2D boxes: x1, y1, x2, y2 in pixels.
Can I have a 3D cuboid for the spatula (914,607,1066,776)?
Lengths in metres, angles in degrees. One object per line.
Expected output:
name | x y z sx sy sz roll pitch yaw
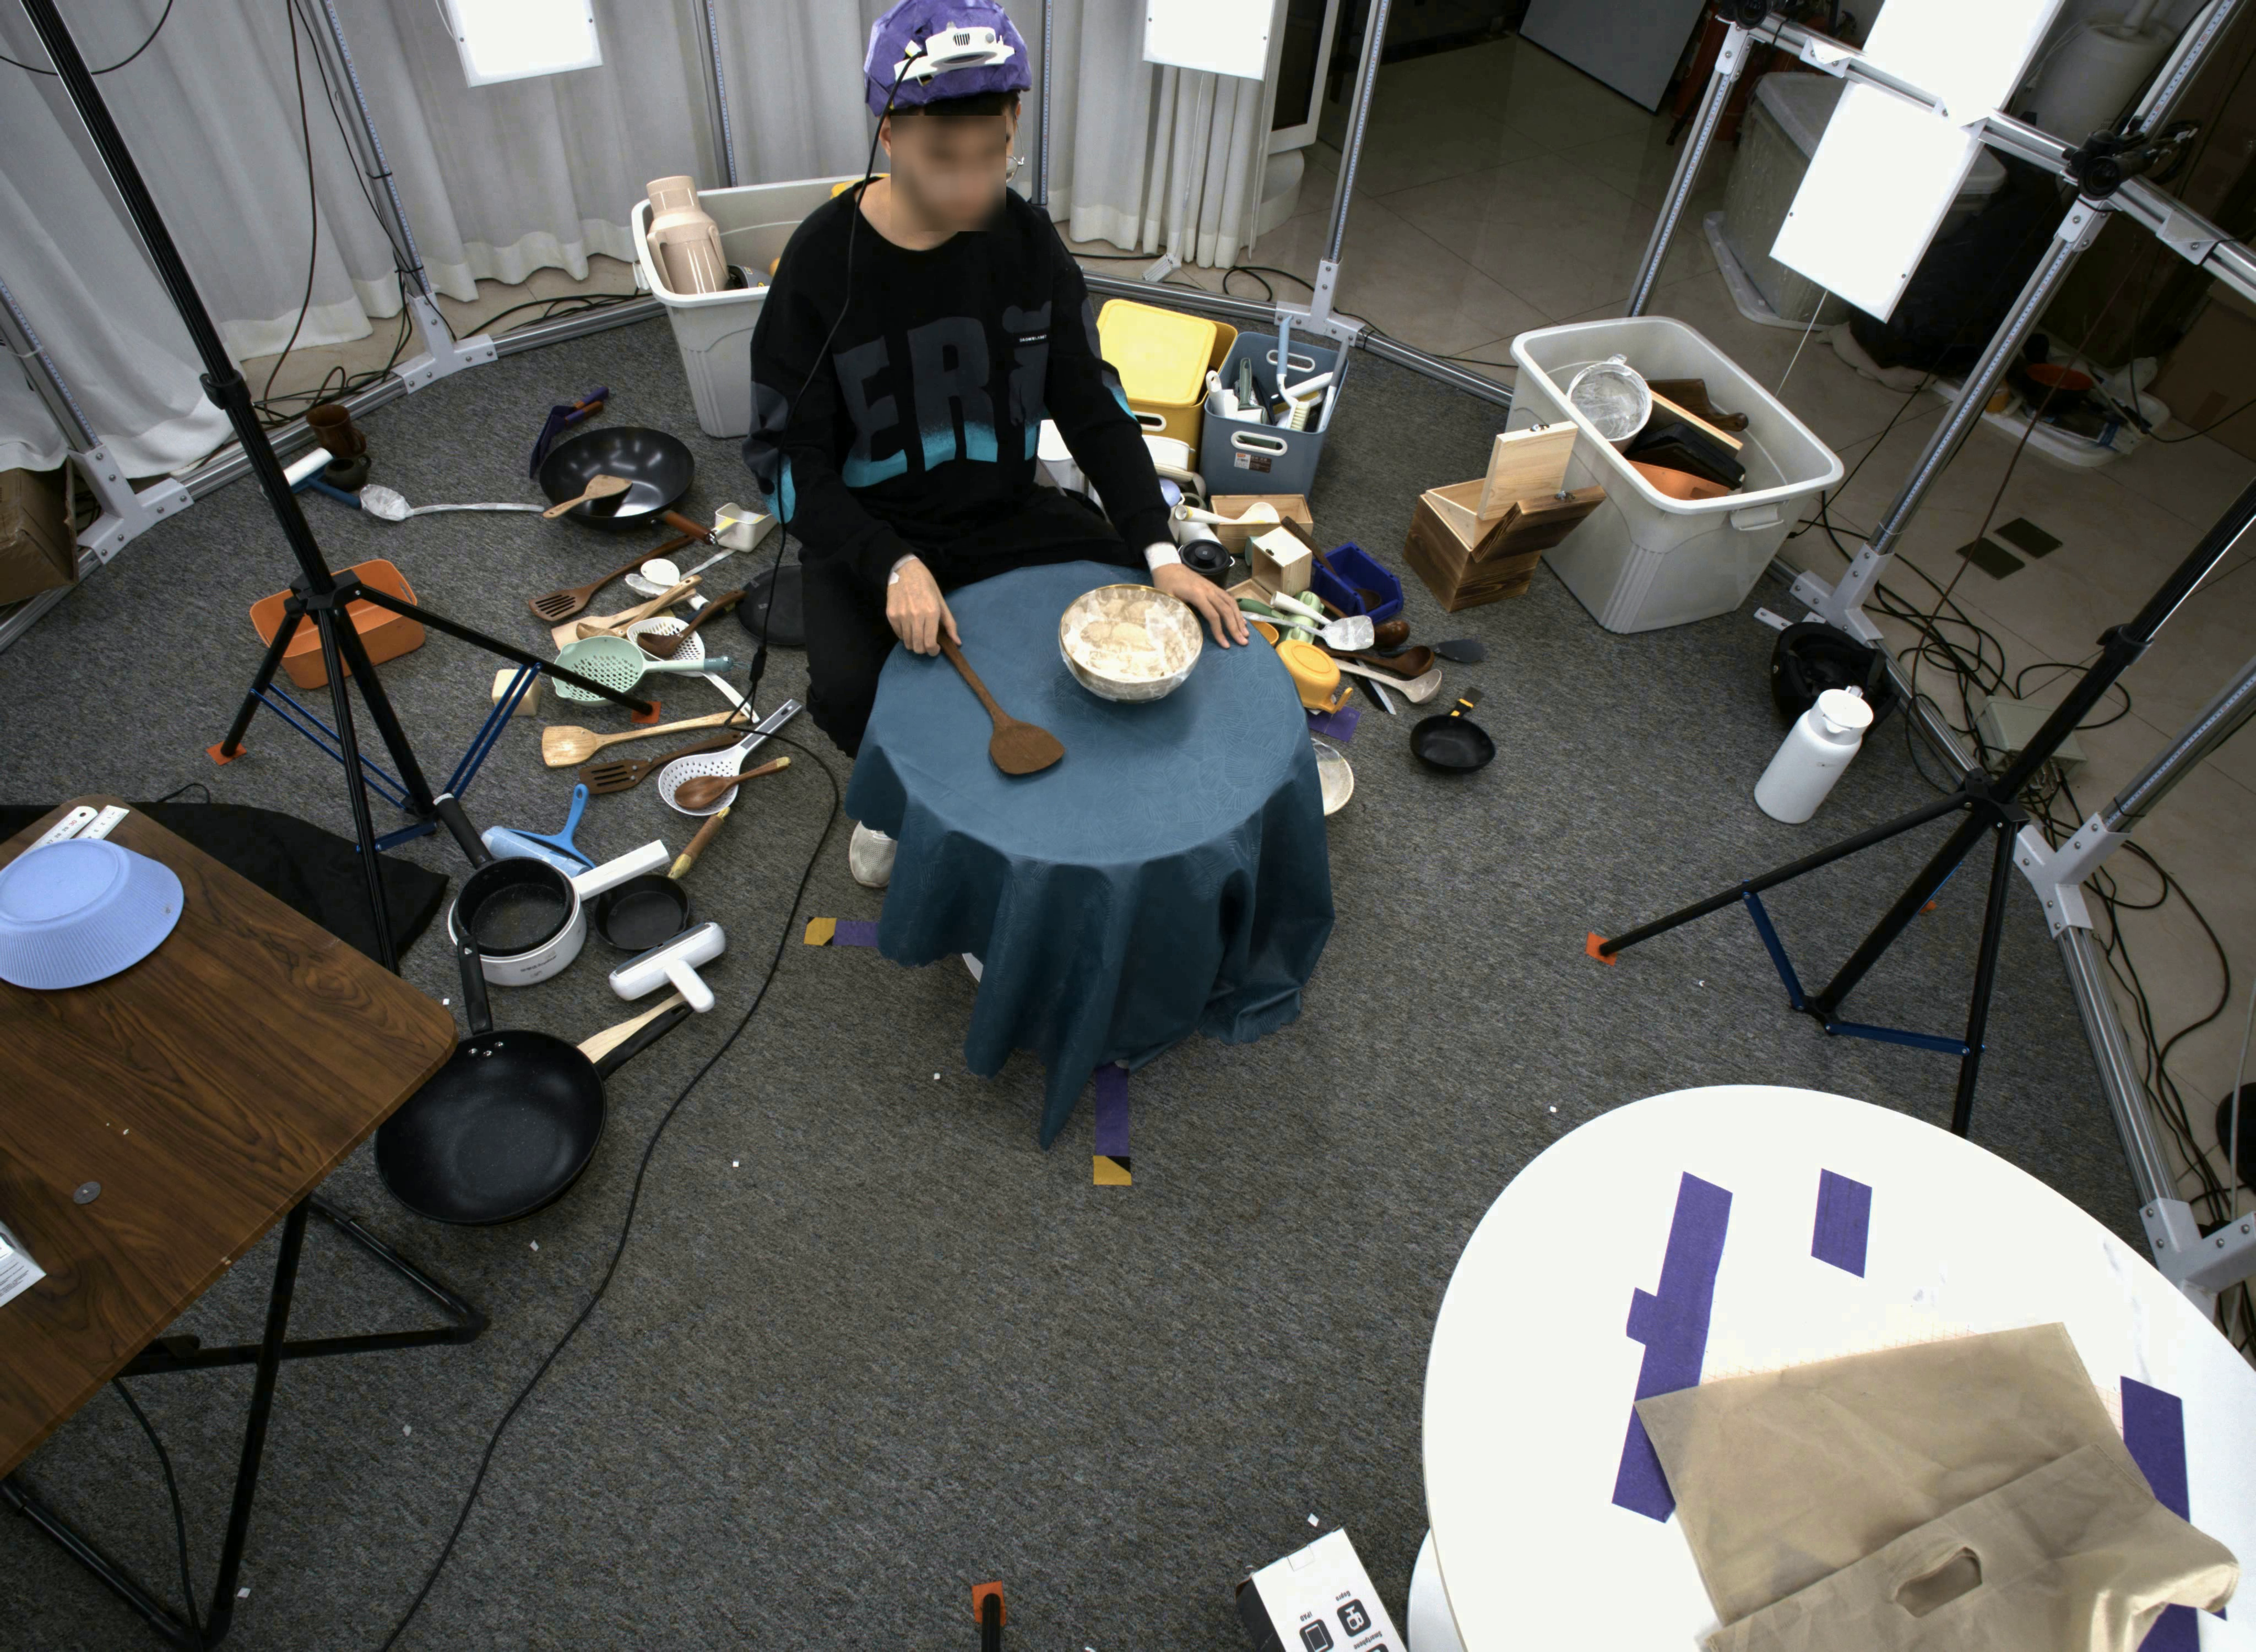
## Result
spatula | -0.215 -0.203 1.838 0.096 0.015 0.394 -22 53 -22

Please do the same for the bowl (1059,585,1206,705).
bowl | 0.005 -0.245 1.837 0.214 0.092 0.220 1 49 -1
